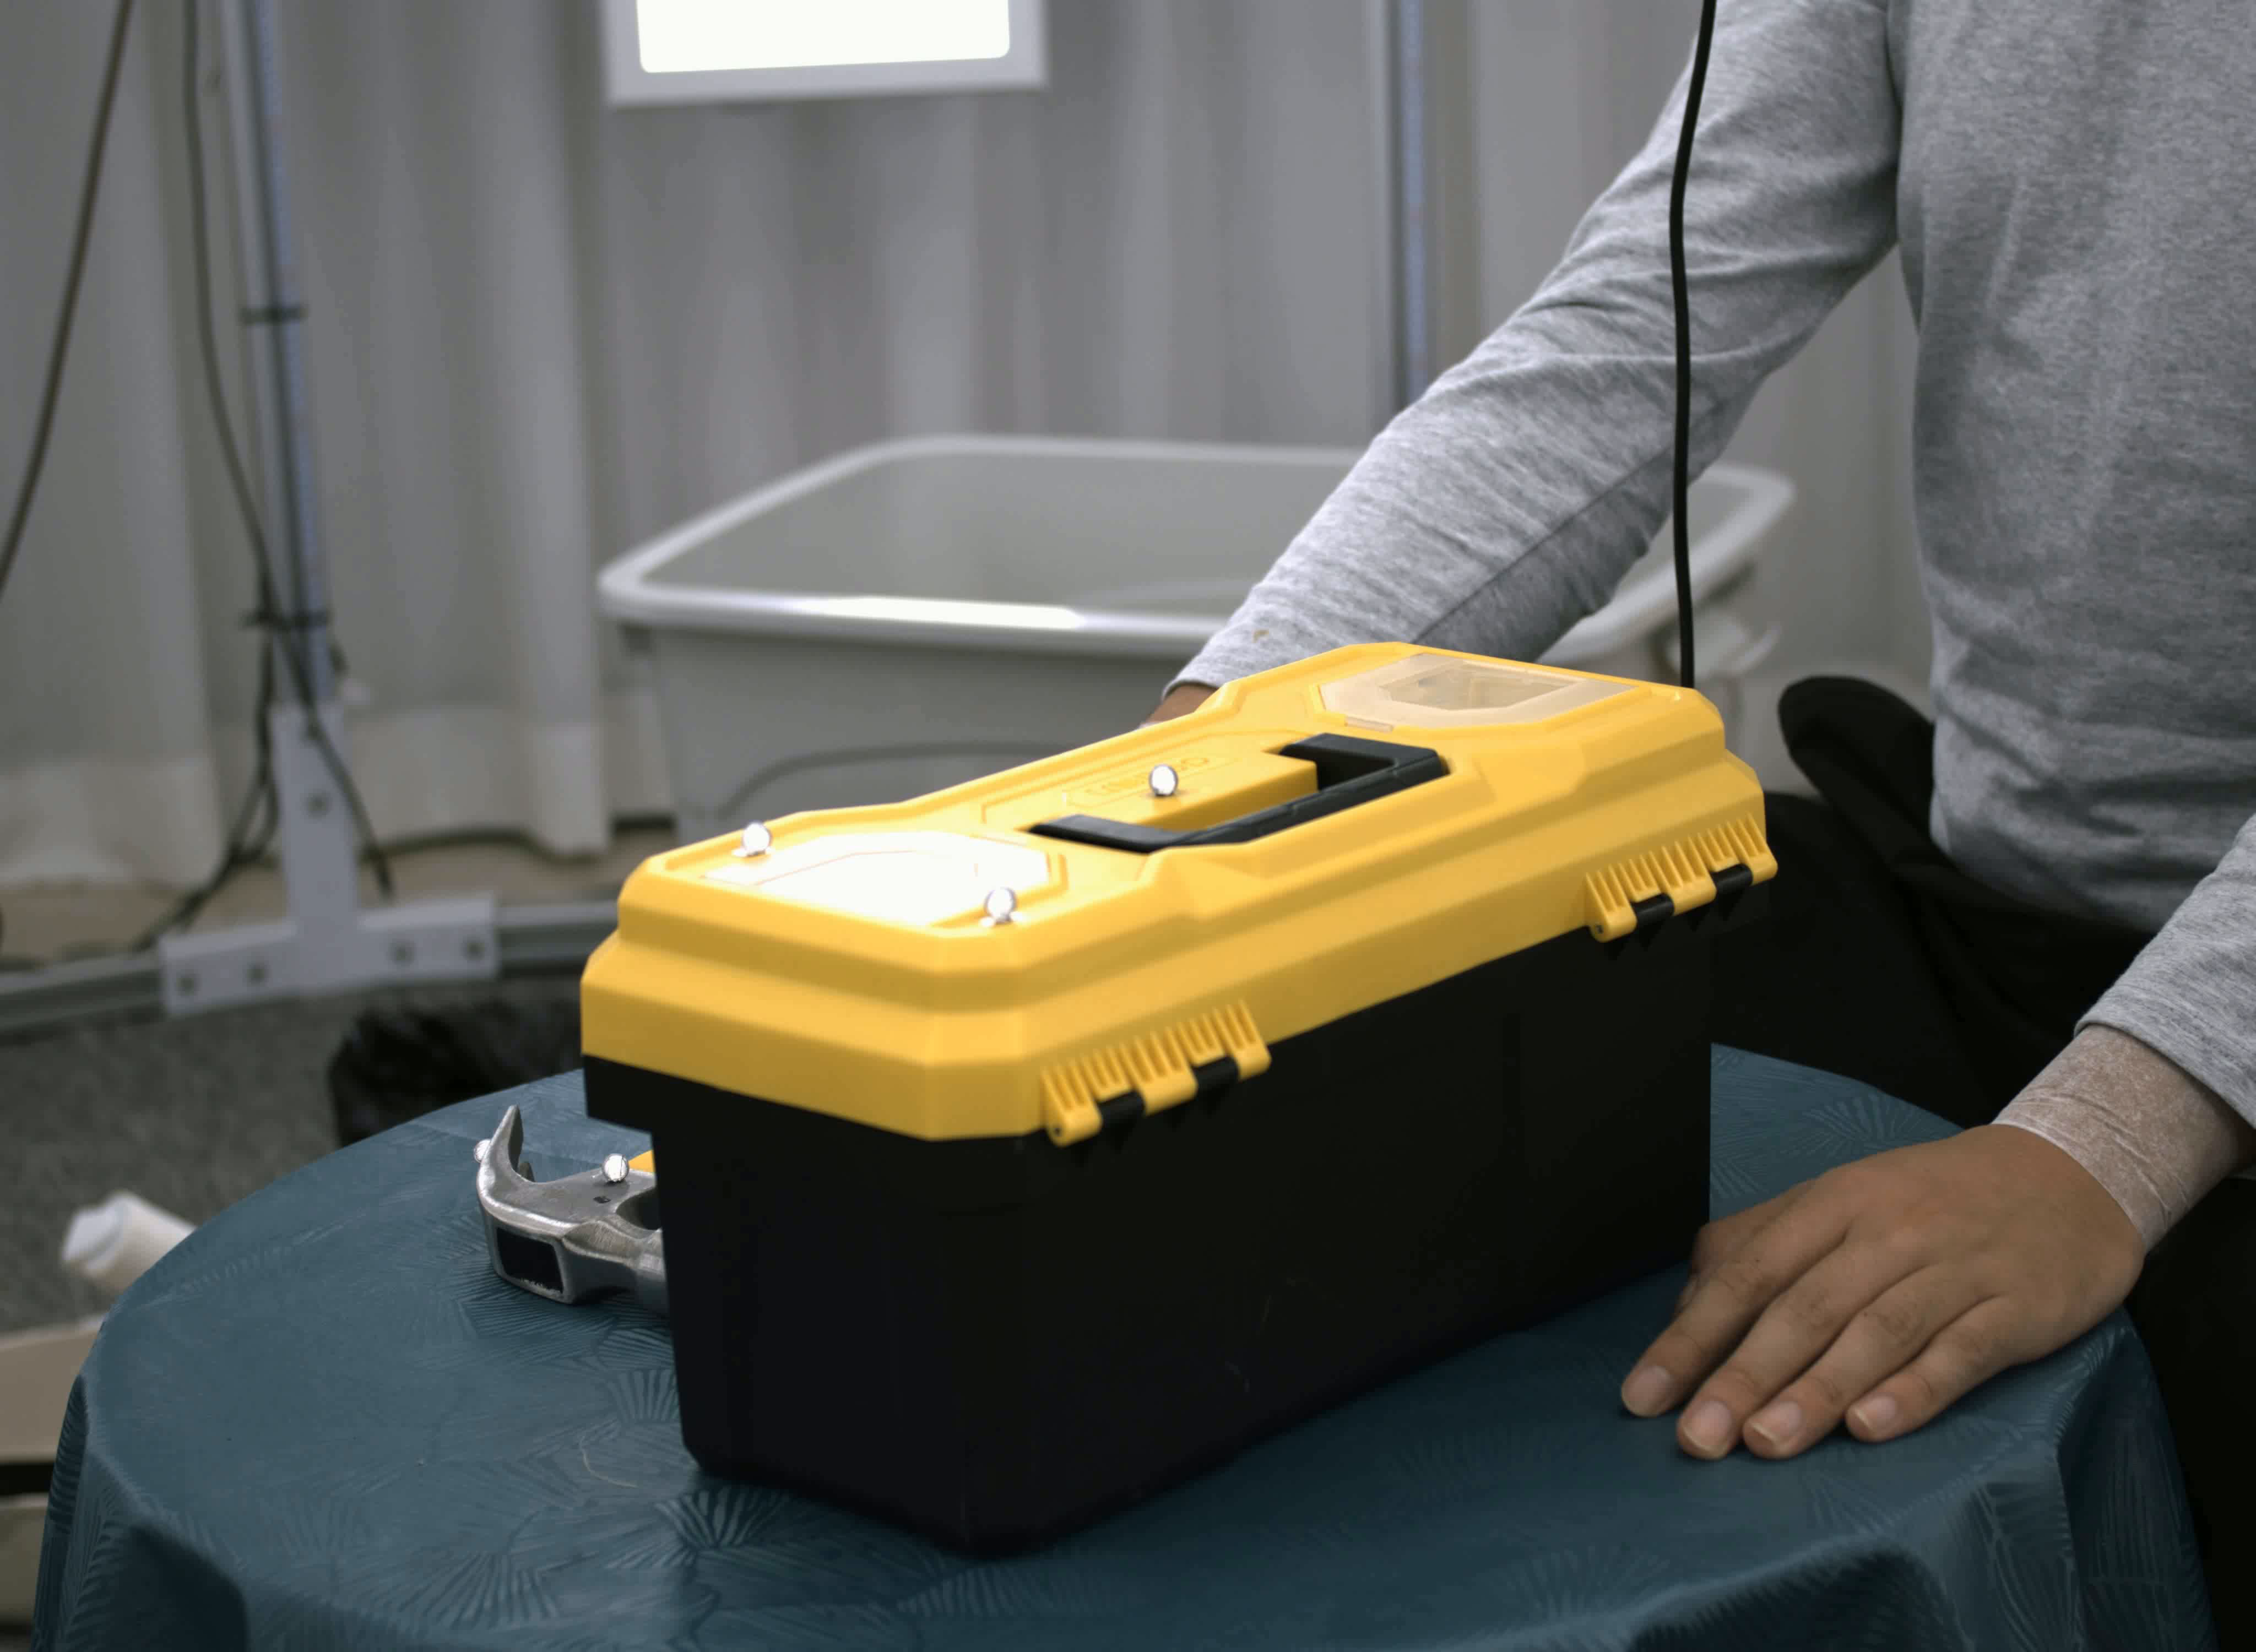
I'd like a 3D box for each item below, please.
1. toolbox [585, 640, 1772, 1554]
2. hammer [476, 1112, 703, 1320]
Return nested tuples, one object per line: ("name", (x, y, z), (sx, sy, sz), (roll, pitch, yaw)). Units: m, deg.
("toolbox", (0.022, 0.068, 1.553), (0.182, 0.172, 0.351), (10, 19, 43))
("hammer", (-0.068, 0.076, 1.757), (0.132, 0.032, 0.338), (7, 23, 43))
